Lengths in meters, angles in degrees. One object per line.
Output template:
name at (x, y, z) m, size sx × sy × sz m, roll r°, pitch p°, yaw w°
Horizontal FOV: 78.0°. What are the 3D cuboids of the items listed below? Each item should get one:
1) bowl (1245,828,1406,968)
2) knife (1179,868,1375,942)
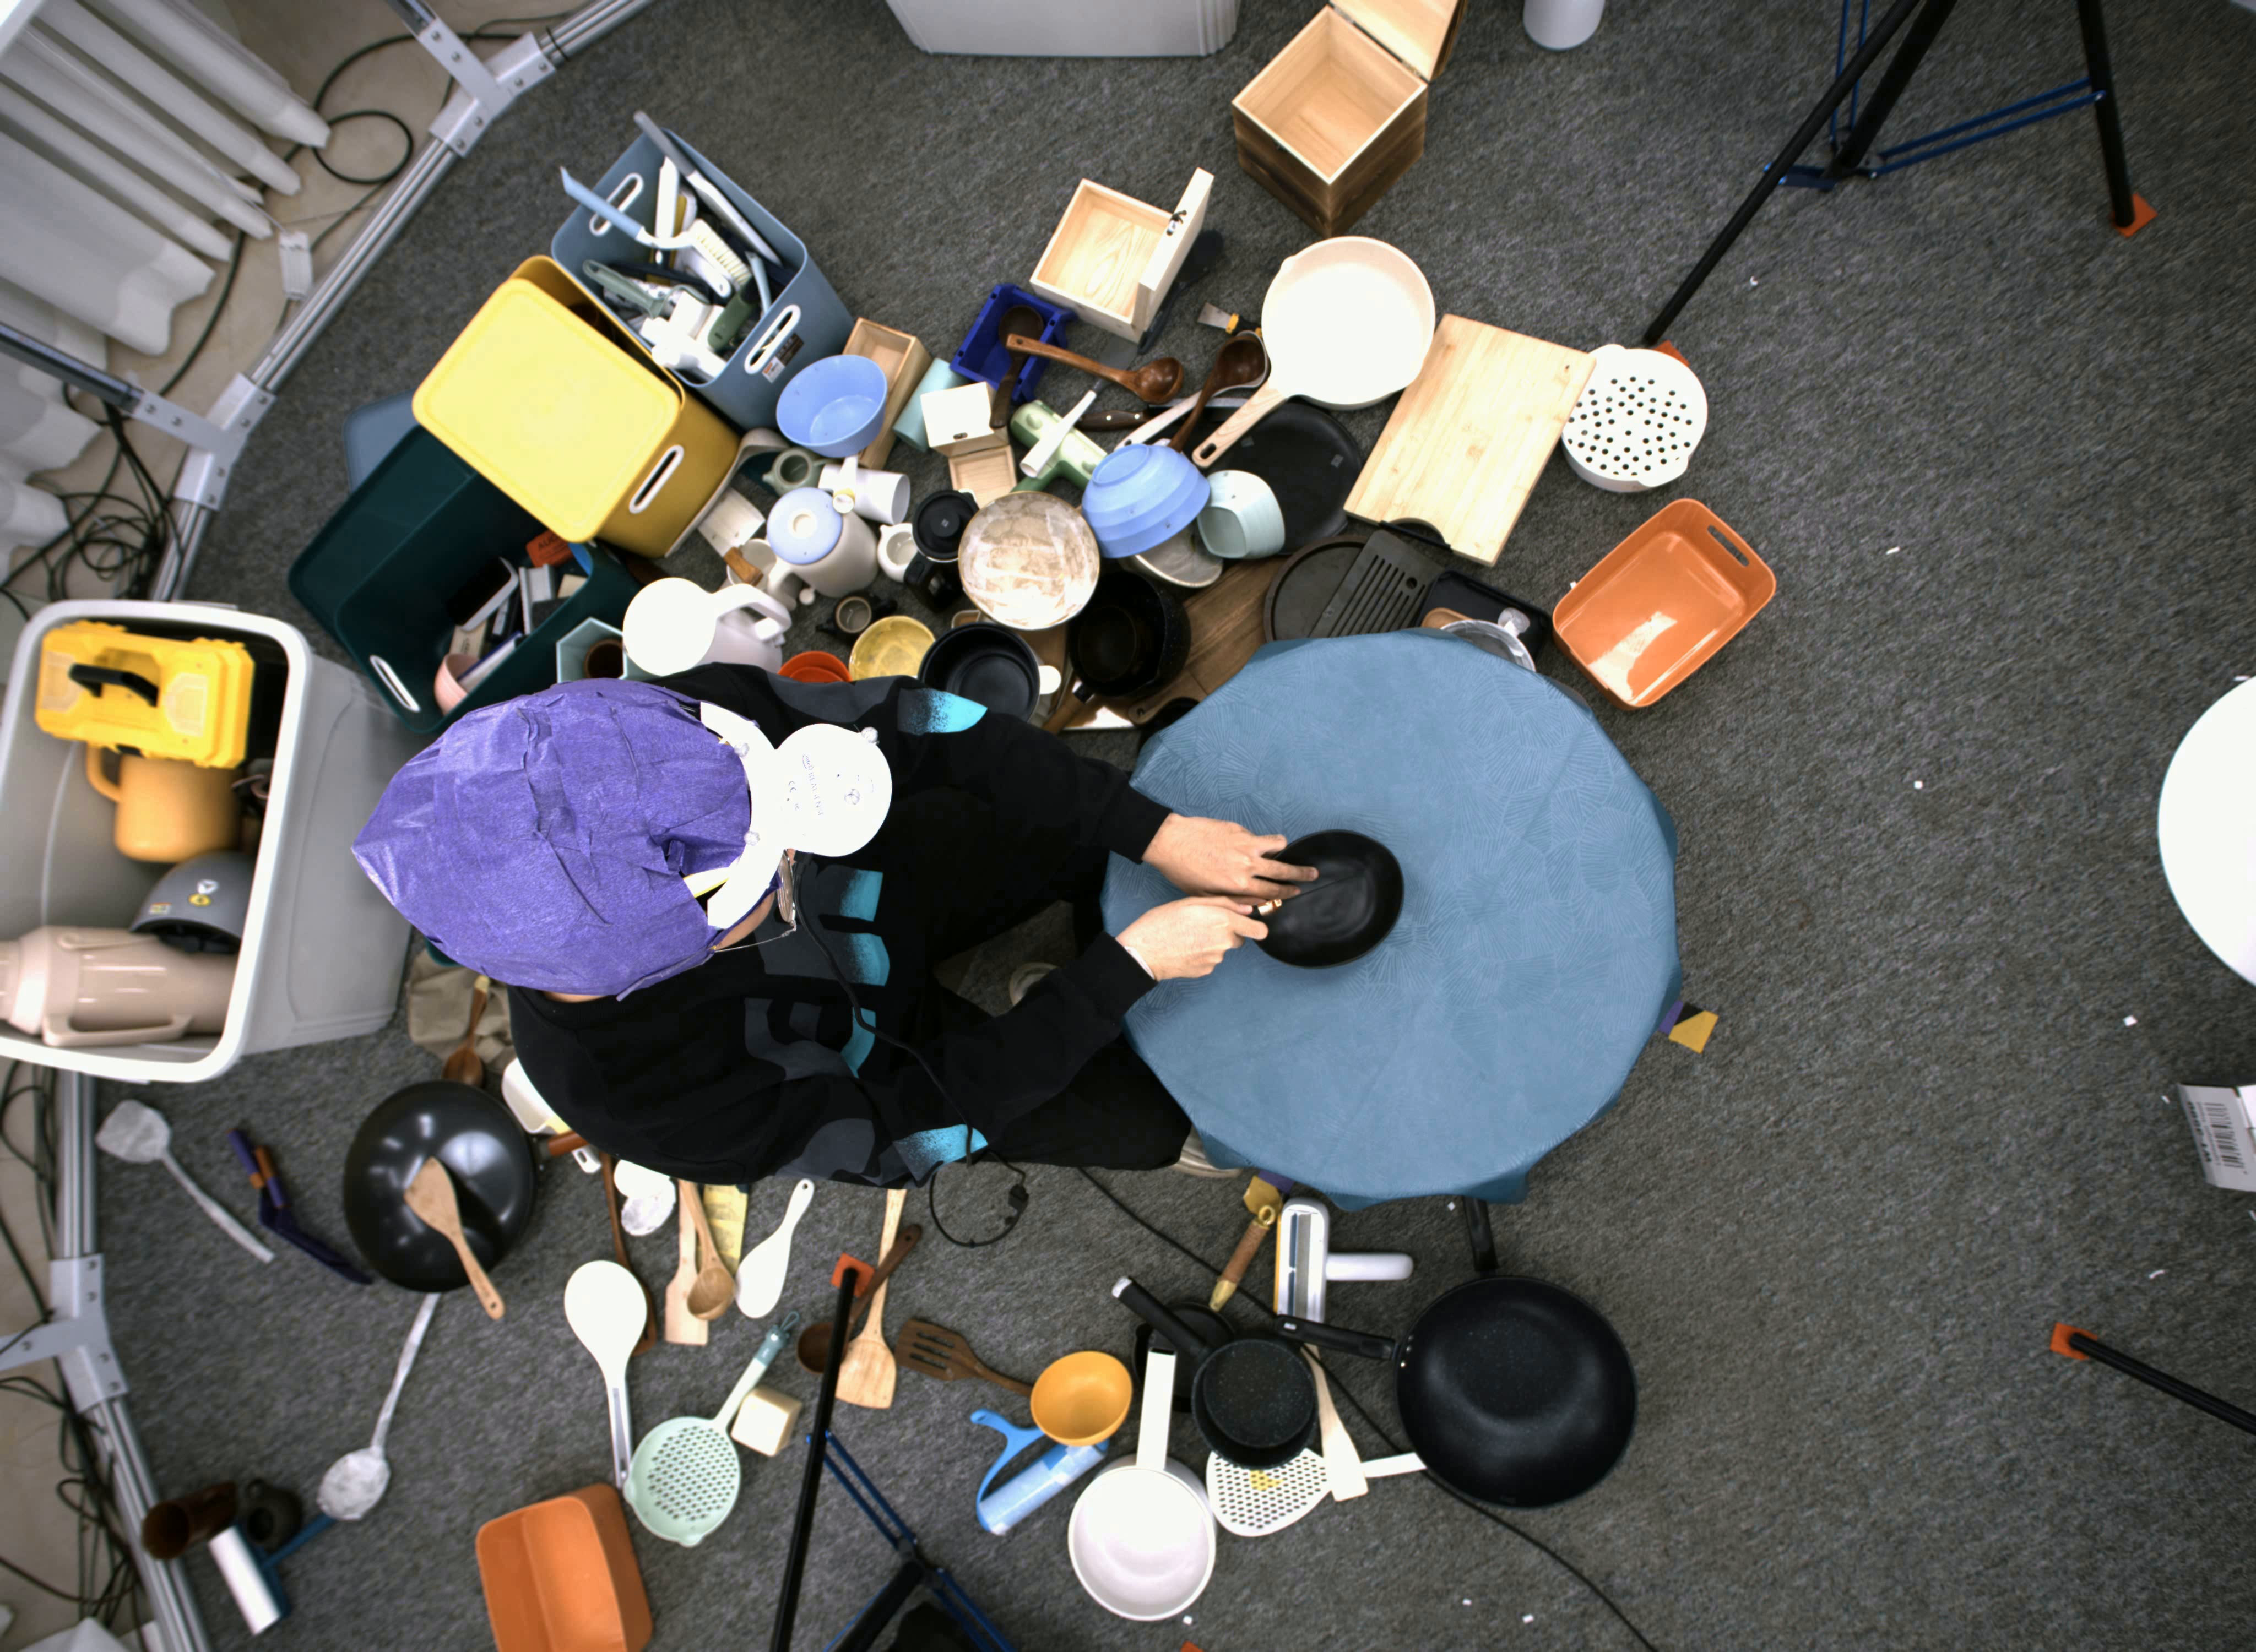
bowl at (0.207, 0.077, 1.439) m, size 0.171 × 0.066 × 0.136 m, roll -27°, pitch 82°, yaw 10°
knife at (0.153, 0.077, 1.402) m, size 0.223 × 0.026 × 0.017 m, roll -18°, pitch 83°, yaw -19°
